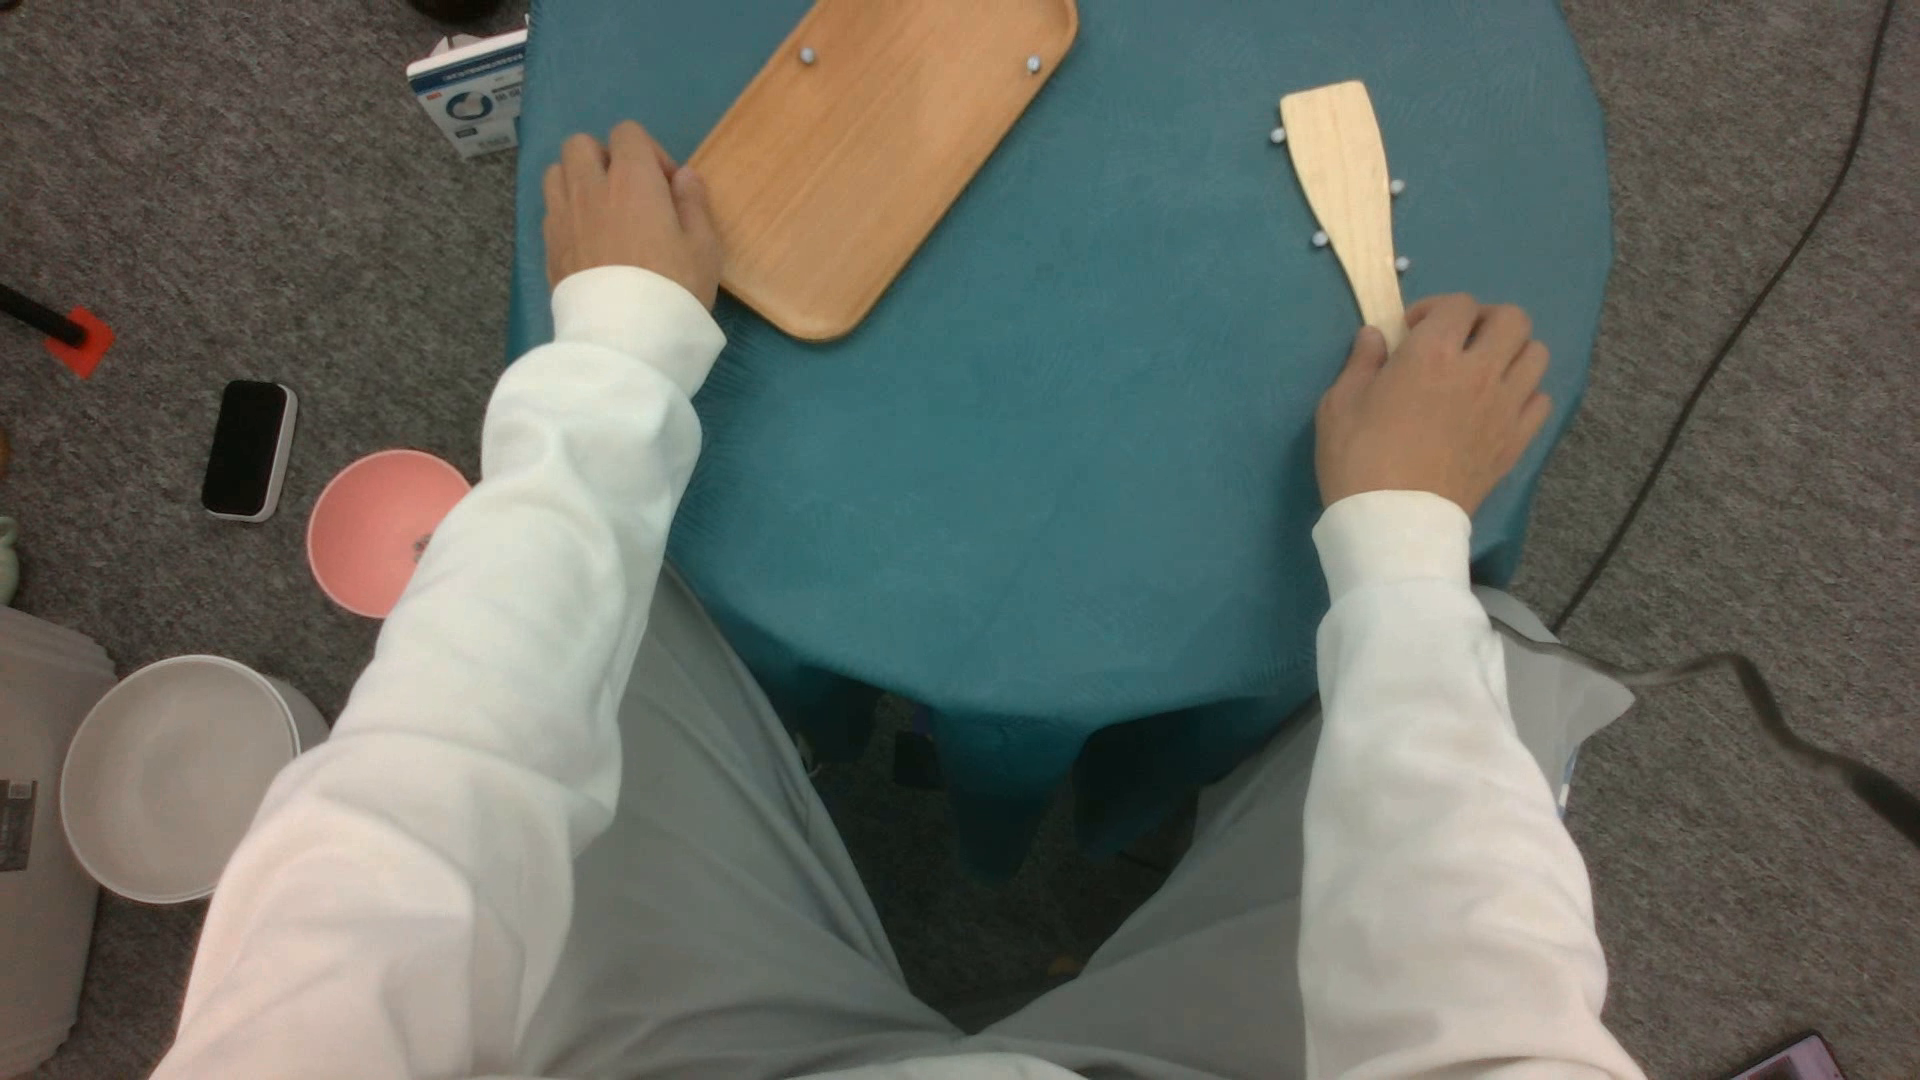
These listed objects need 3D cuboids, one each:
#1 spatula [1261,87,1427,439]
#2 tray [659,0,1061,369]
[{"bbox_3d":[0.215,-0.153,0.755,0.050,0.005,0.208,-14,77,3],"label":"spatula"},{"bbox_3d":[-0.053,-0.217,0.771,0.130,0.023,0.251,33,80,9],"label":"tray"}]
